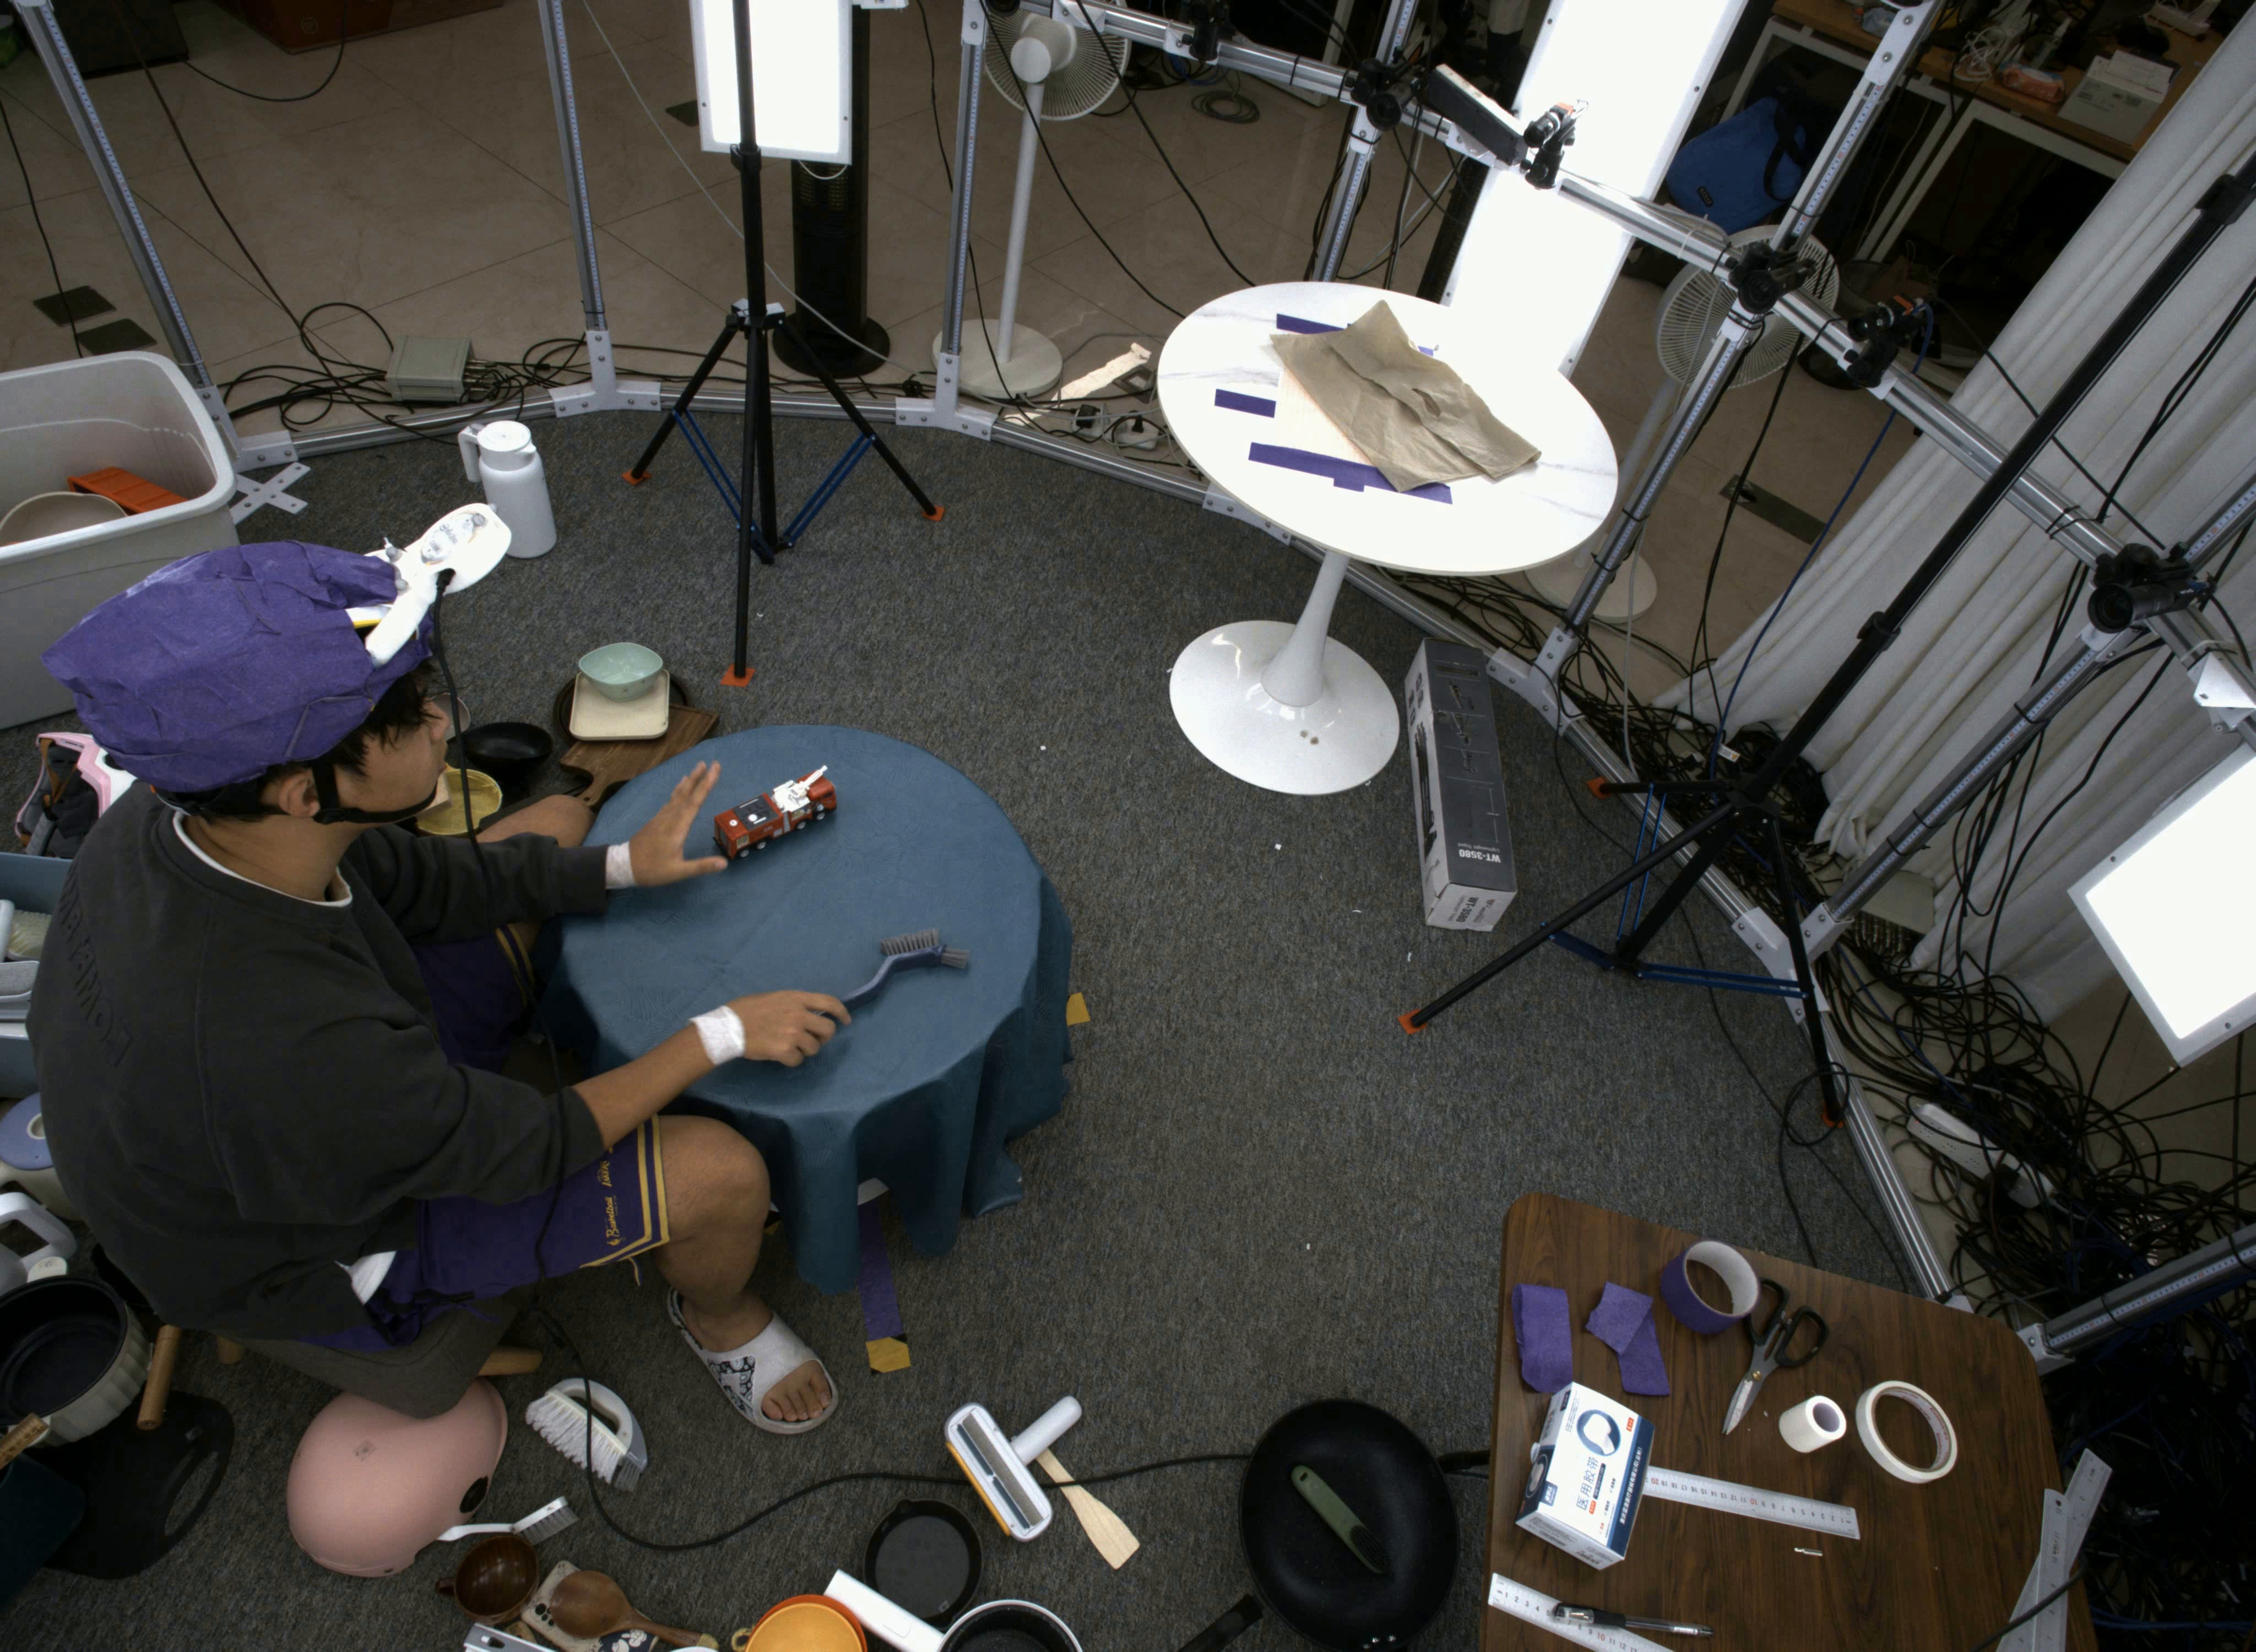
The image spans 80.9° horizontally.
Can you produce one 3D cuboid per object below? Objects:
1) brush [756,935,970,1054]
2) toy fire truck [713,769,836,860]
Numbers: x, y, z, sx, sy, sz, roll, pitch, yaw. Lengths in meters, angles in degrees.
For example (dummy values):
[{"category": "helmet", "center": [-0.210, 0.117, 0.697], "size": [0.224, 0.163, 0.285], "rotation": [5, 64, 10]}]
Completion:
[{"category": "brush", "center": [-0.322, 0.208, 1.579], "size": [0.093, 0.034, 0.274], "rotation": [42, 54, 18]}, {"category": "toy fire truck", "center": [-0.461, -0.018, 1.695], "size": [0.168, 0.072, 0.053], "rotation": [-31, 65, -30]}]
